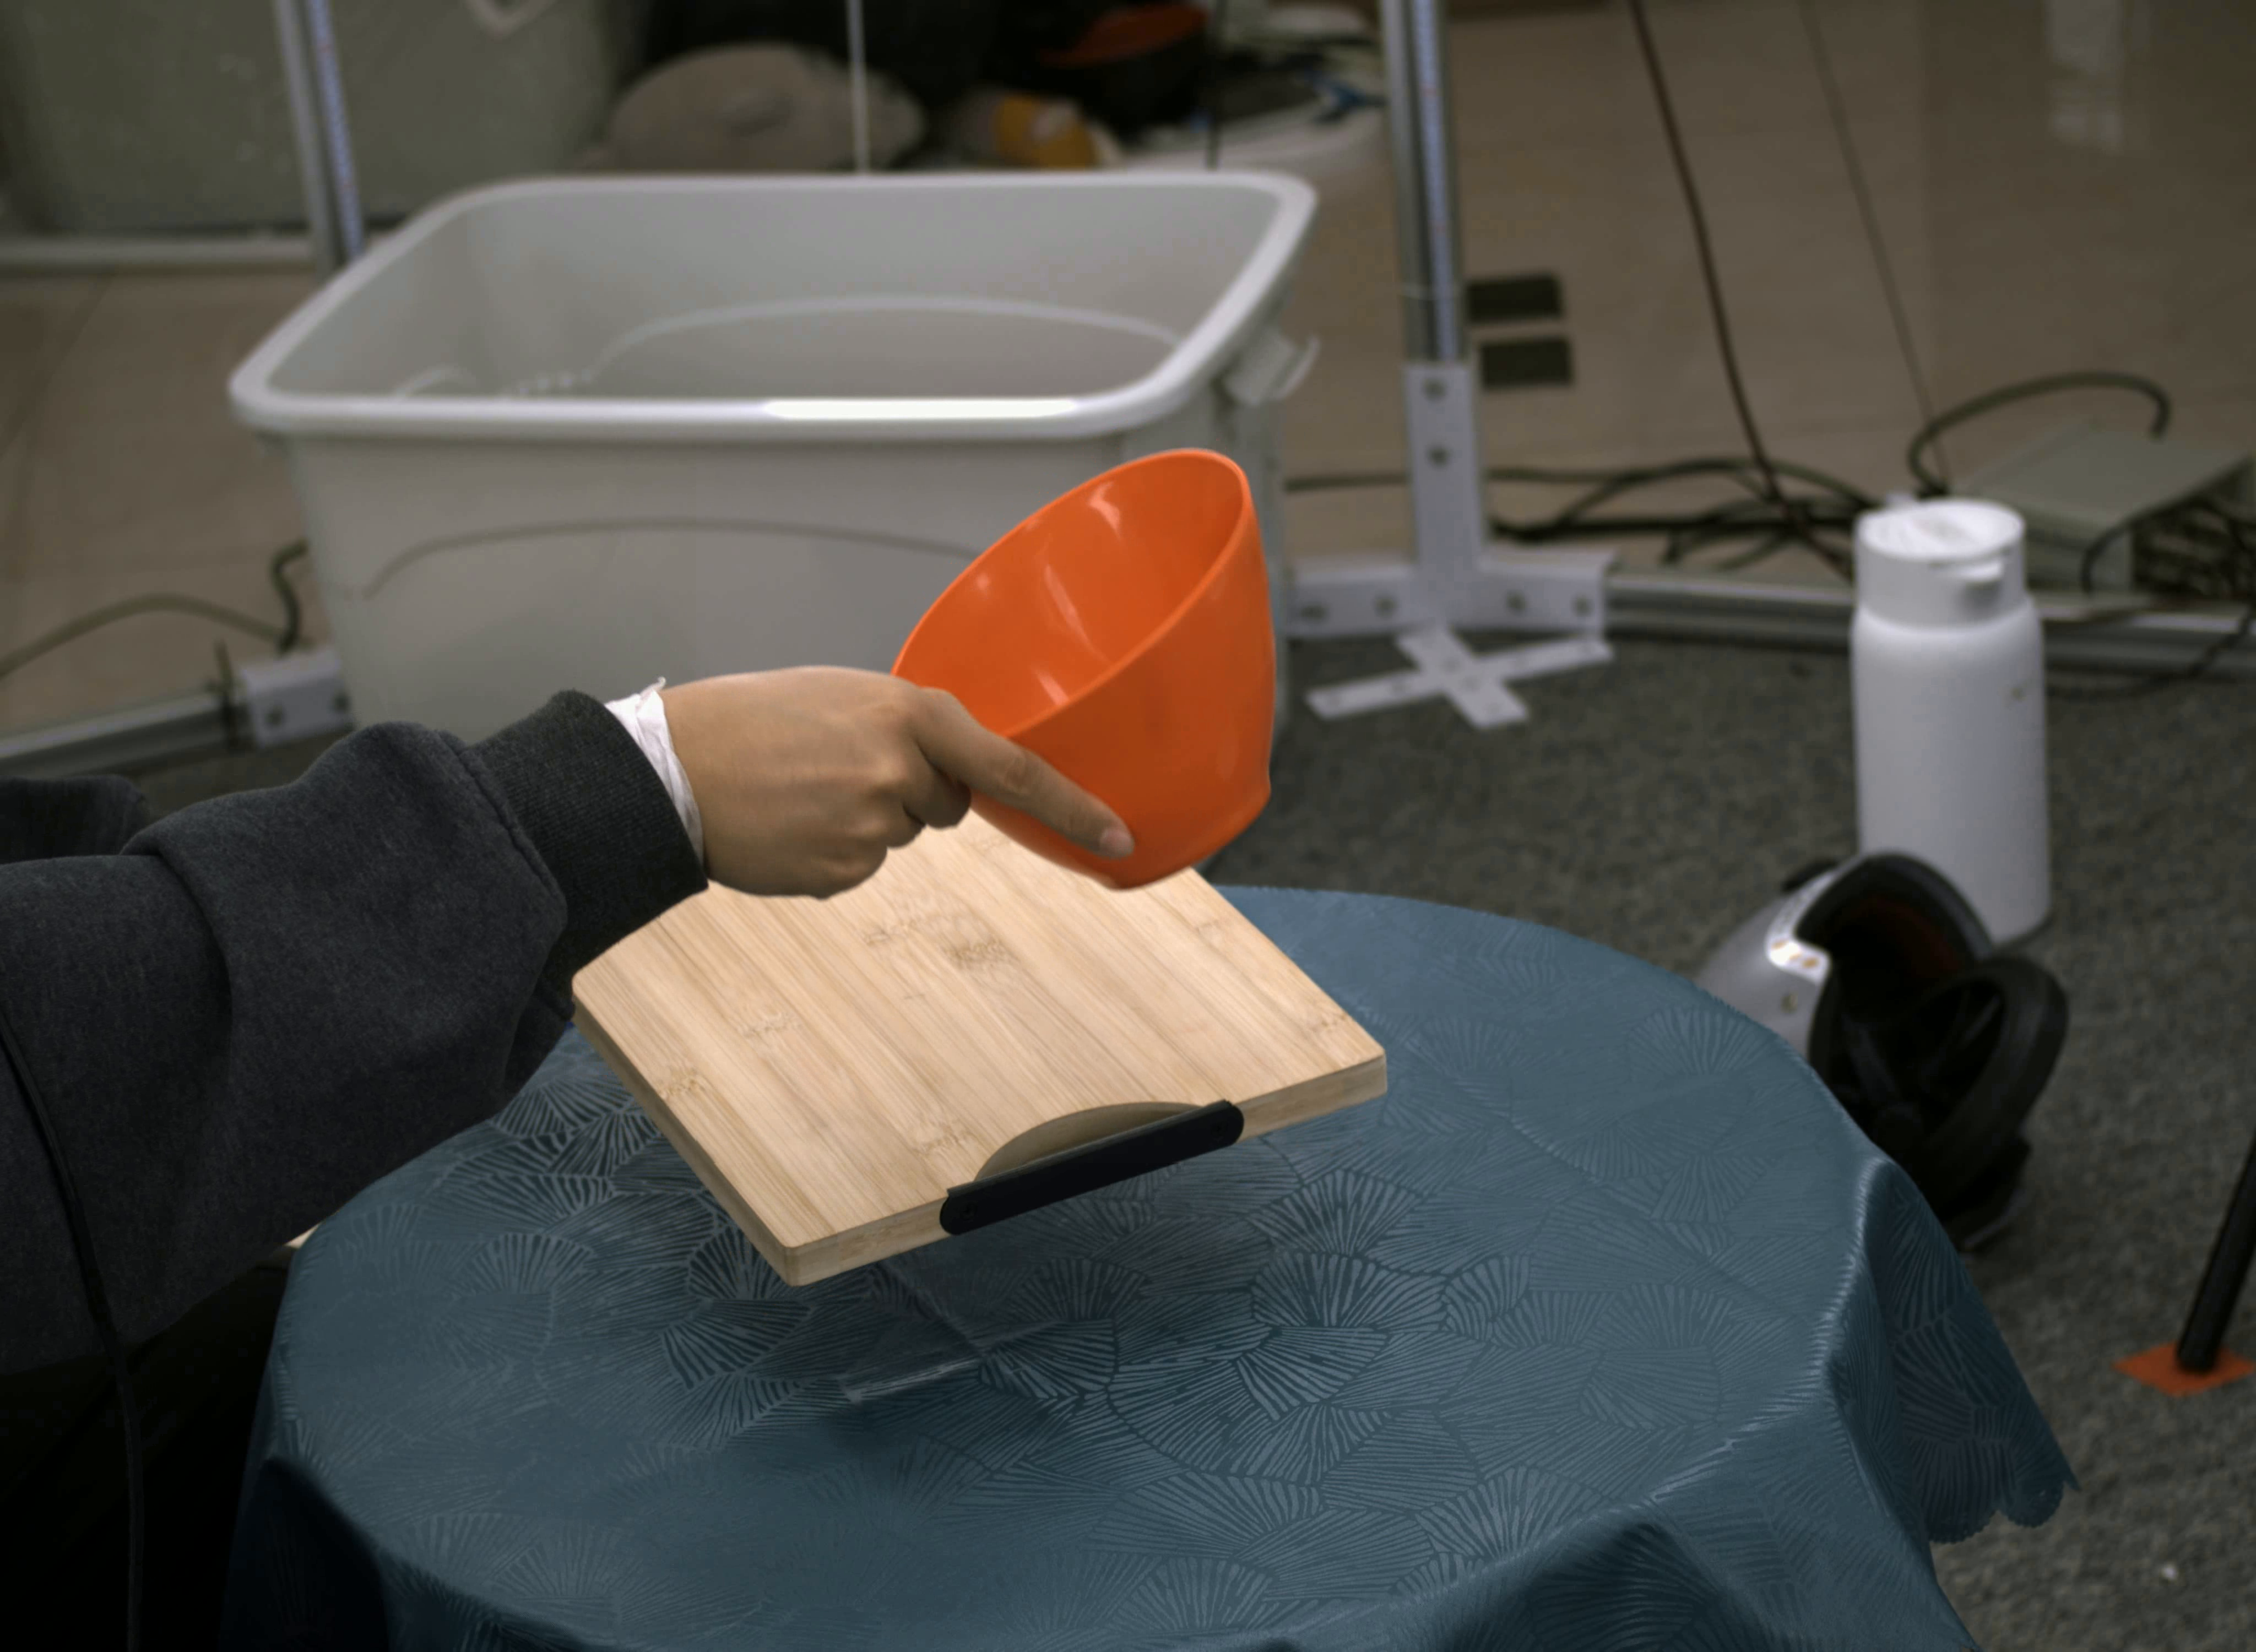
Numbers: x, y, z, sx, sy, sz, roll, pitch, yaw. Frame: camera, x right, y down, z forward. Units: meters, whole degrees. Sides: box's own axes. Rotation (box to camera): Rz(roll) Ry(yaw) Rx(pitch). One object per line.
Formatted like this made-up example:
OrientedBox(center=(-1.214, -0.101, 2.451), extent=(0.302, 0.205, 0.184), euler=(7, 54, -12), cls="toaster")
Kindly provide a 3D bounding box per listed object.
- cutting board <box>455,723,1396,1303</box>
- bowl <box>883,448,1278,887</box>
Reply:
OrientedBox(center=(-0.084, 0.056, 2.142), extent=(0.249, 0.024, 0.344), euler=(-18, 32, -21), cls="cutting board")
OrientedBox(center=(-0.001, -0.046, 1.916), extent=(0.148, 0.106, 0.146), euler=(-28, 18, 10), cls="bowl")
